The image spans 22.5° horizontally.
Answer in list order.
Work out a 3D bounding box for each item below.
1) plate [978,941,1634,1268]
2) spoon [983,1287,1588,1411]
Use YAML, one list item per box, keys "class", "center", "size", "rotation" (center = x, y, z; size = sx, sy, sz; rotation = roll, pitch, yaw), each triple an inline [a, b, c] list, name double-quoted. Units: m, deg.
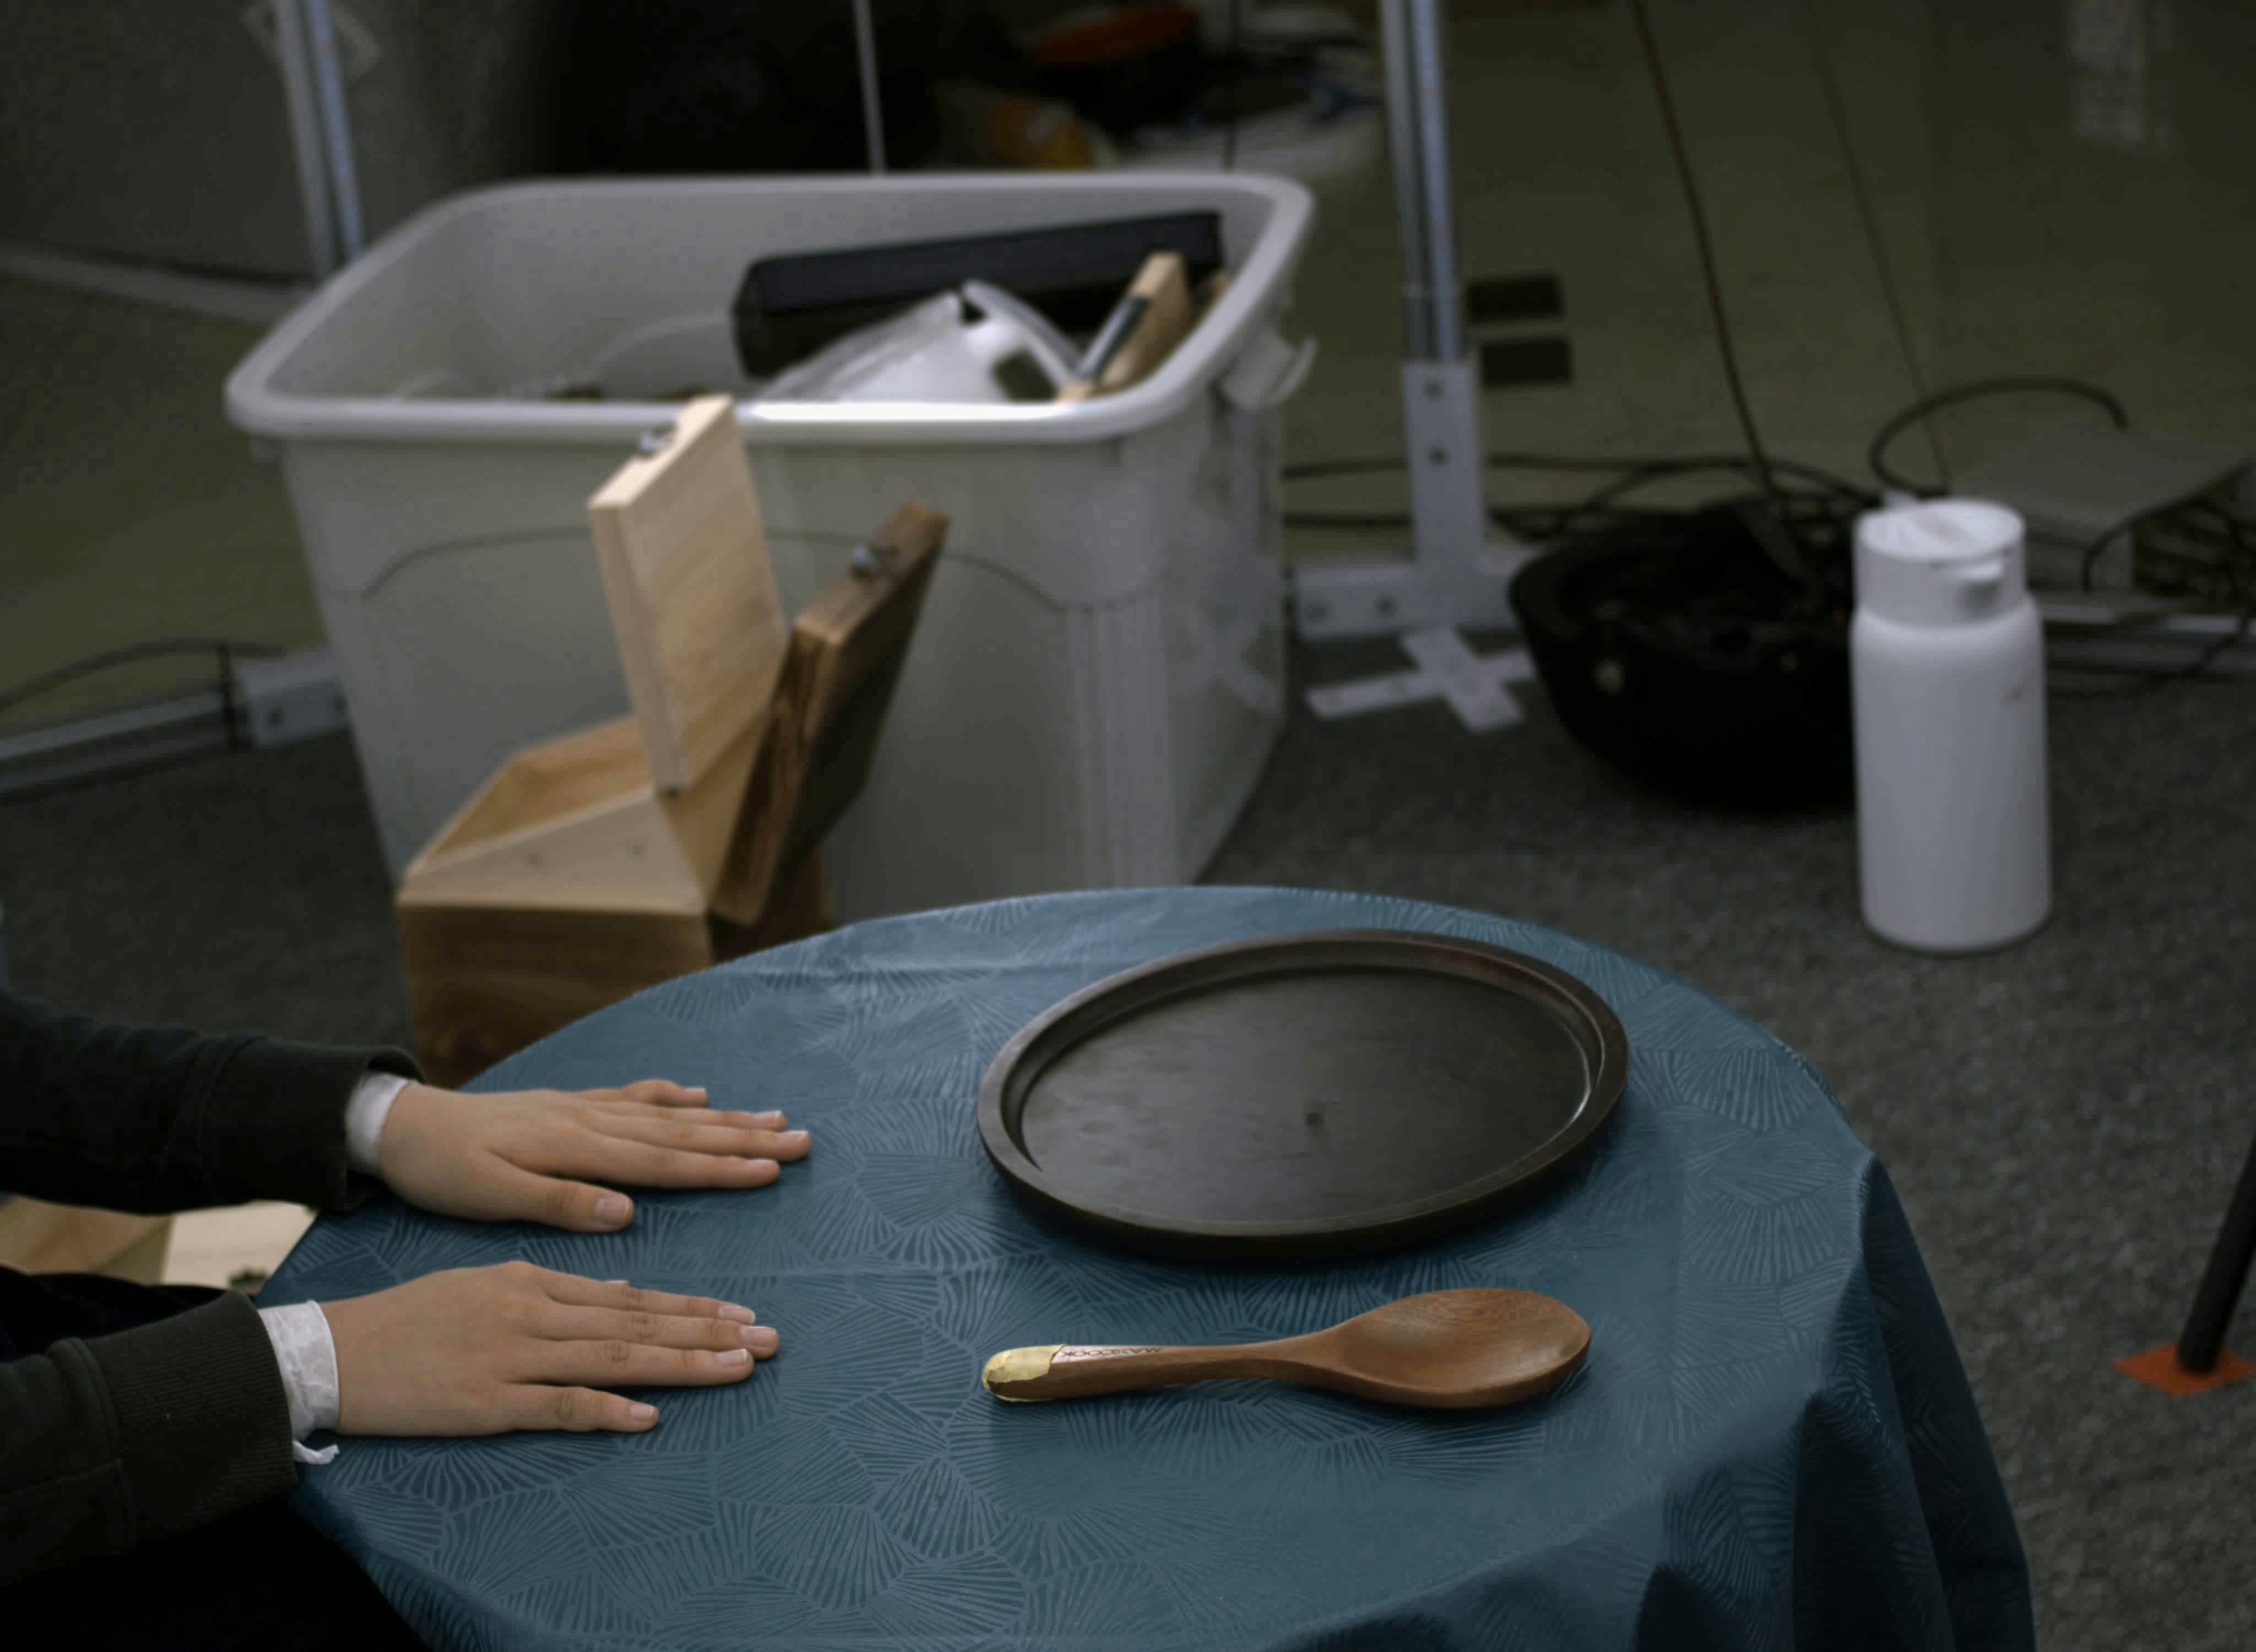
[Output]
- class: "plate"
  center: [0.068, 0.105, 2.183]
  size: [0.254, 0.029, 0.251]
  rotation: [-4, 24, 2]
- class: "spoon"
  center: [0.055, 0.190, 2.010]
  size: [0.215, 0.017, 0.074]
  rotation: [-3, 25, 7]
